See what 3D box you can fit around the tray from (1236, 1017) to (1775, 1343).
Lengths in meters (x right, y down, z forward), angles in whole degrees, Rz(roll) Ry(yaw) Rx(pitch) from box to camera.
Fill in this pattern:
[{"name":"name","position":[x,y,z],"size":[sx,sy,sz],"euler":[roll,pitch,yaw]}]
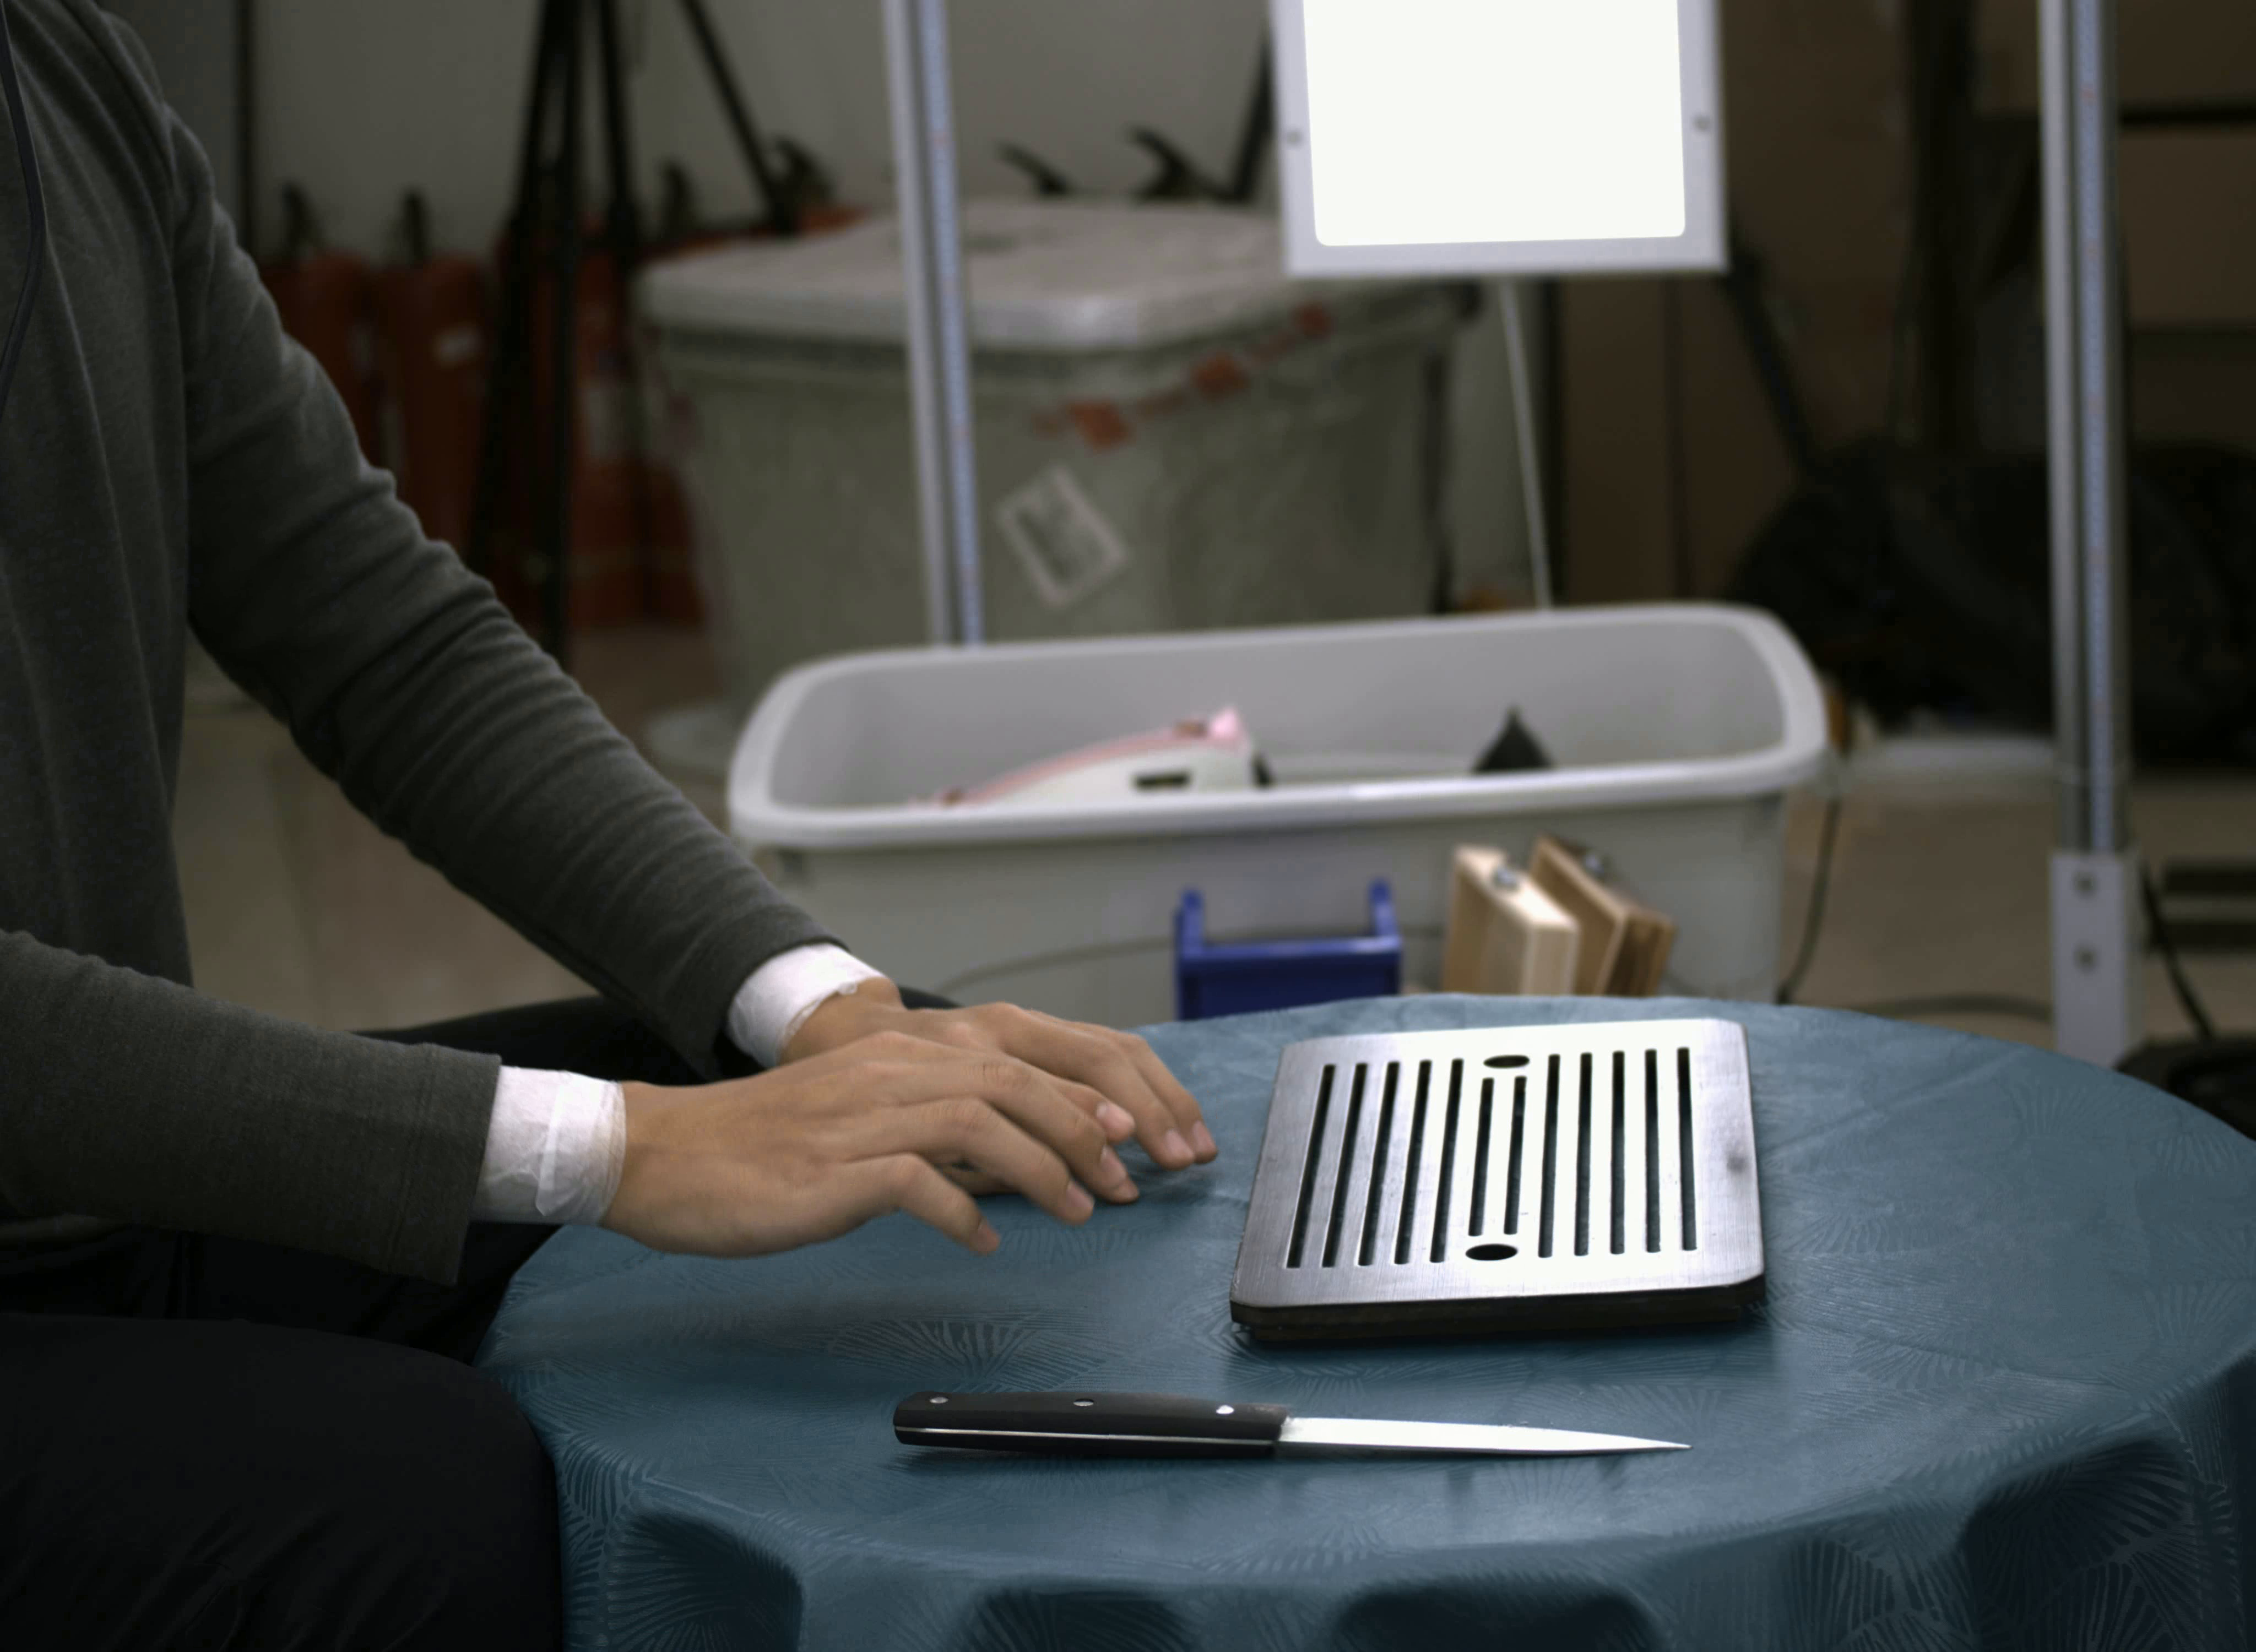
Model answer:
[{"name":"tray","position":[0.131,0.117,1.855],"size":[0.171,0.019,0.303],"euler":[-4,14,7]}]

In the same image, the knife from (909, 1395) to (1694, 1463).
[{"name":"knife","position":[0.050,0.181,1.638],"size":[0.240,0.016,0.024],"euler":[1,16,12]}]
